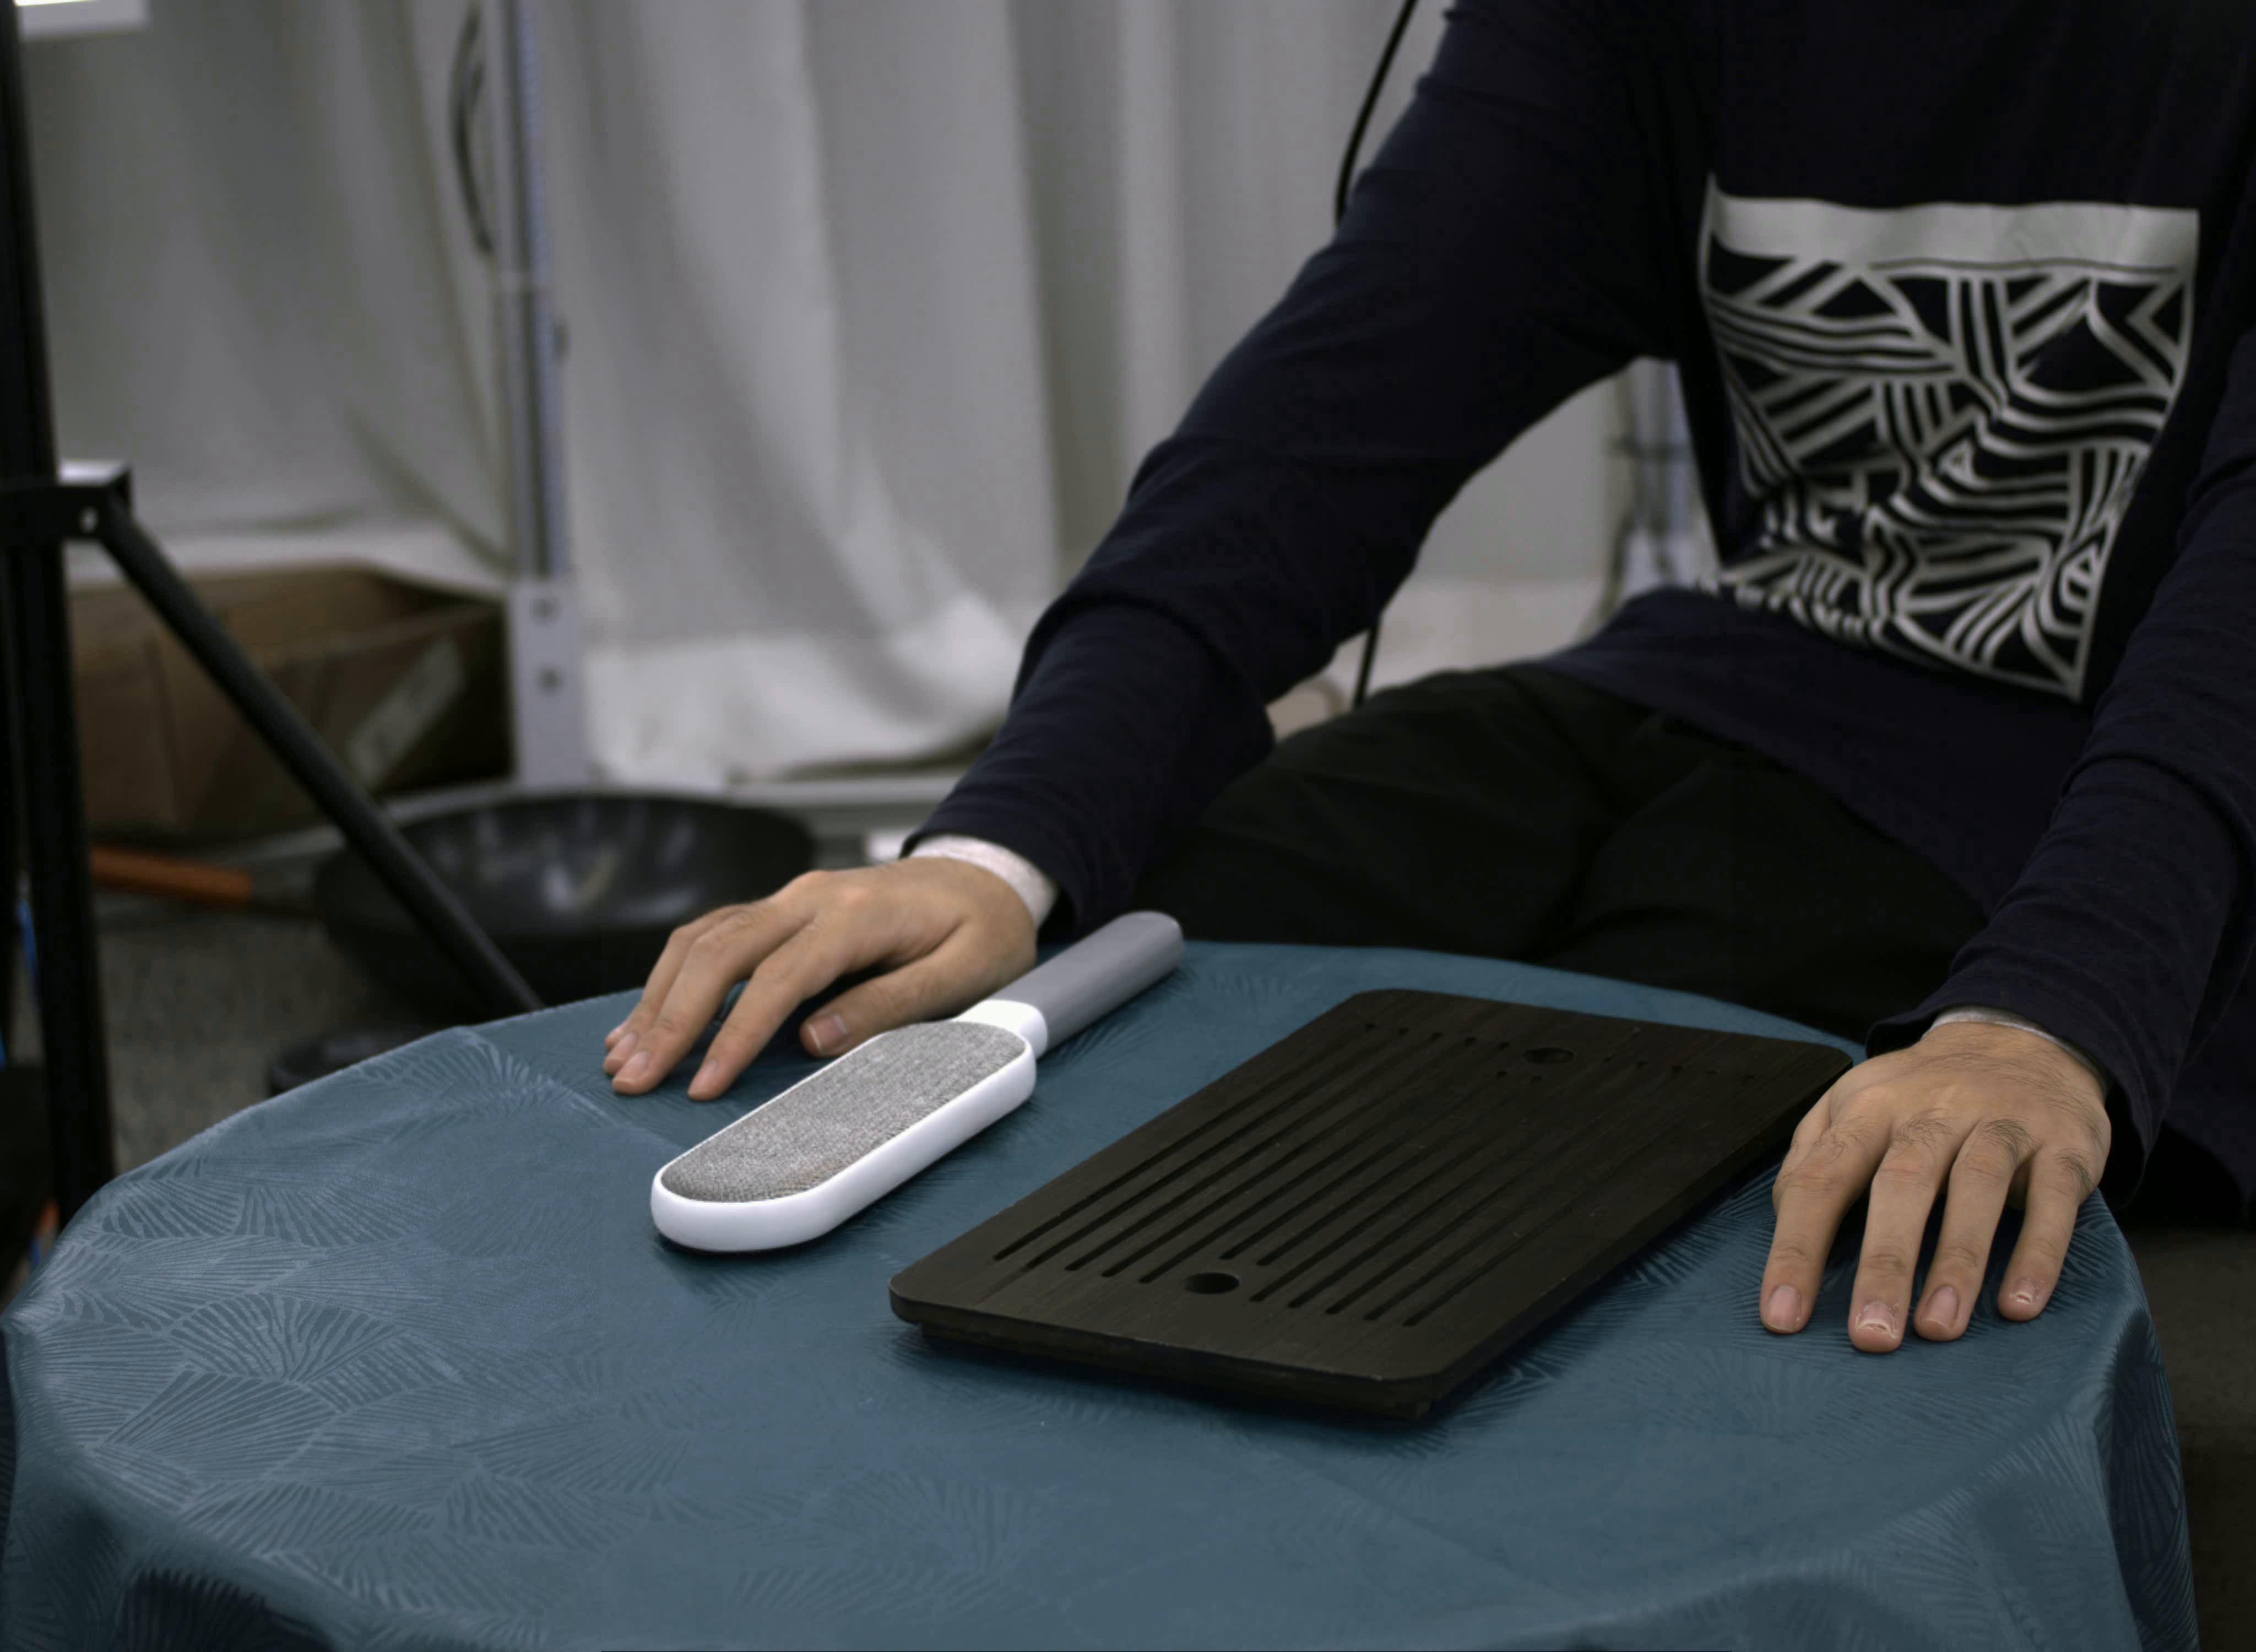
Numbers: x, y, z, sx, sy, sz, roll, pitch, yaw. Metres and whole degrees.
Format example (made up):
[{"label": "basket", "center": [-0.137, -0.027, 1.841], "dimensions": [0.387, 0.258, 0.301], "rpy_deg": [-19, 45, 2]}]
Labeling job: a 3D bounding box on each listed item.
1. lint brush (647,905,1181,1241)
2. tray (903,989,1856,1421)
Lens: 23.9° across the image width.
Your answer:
[{"label": "lint brush", "center": [-0.055, 0.073, 1.646], "dimensions": [0.061, 0.021, 0.304], "rpy_deg": [0, 15, 27]}, {"label": "tray", "center": [0.080, 0.106, 1.527], "dimensions": [0.173, 0.018, 0.300], "rpy_deg": [6, 18, 29]}]
